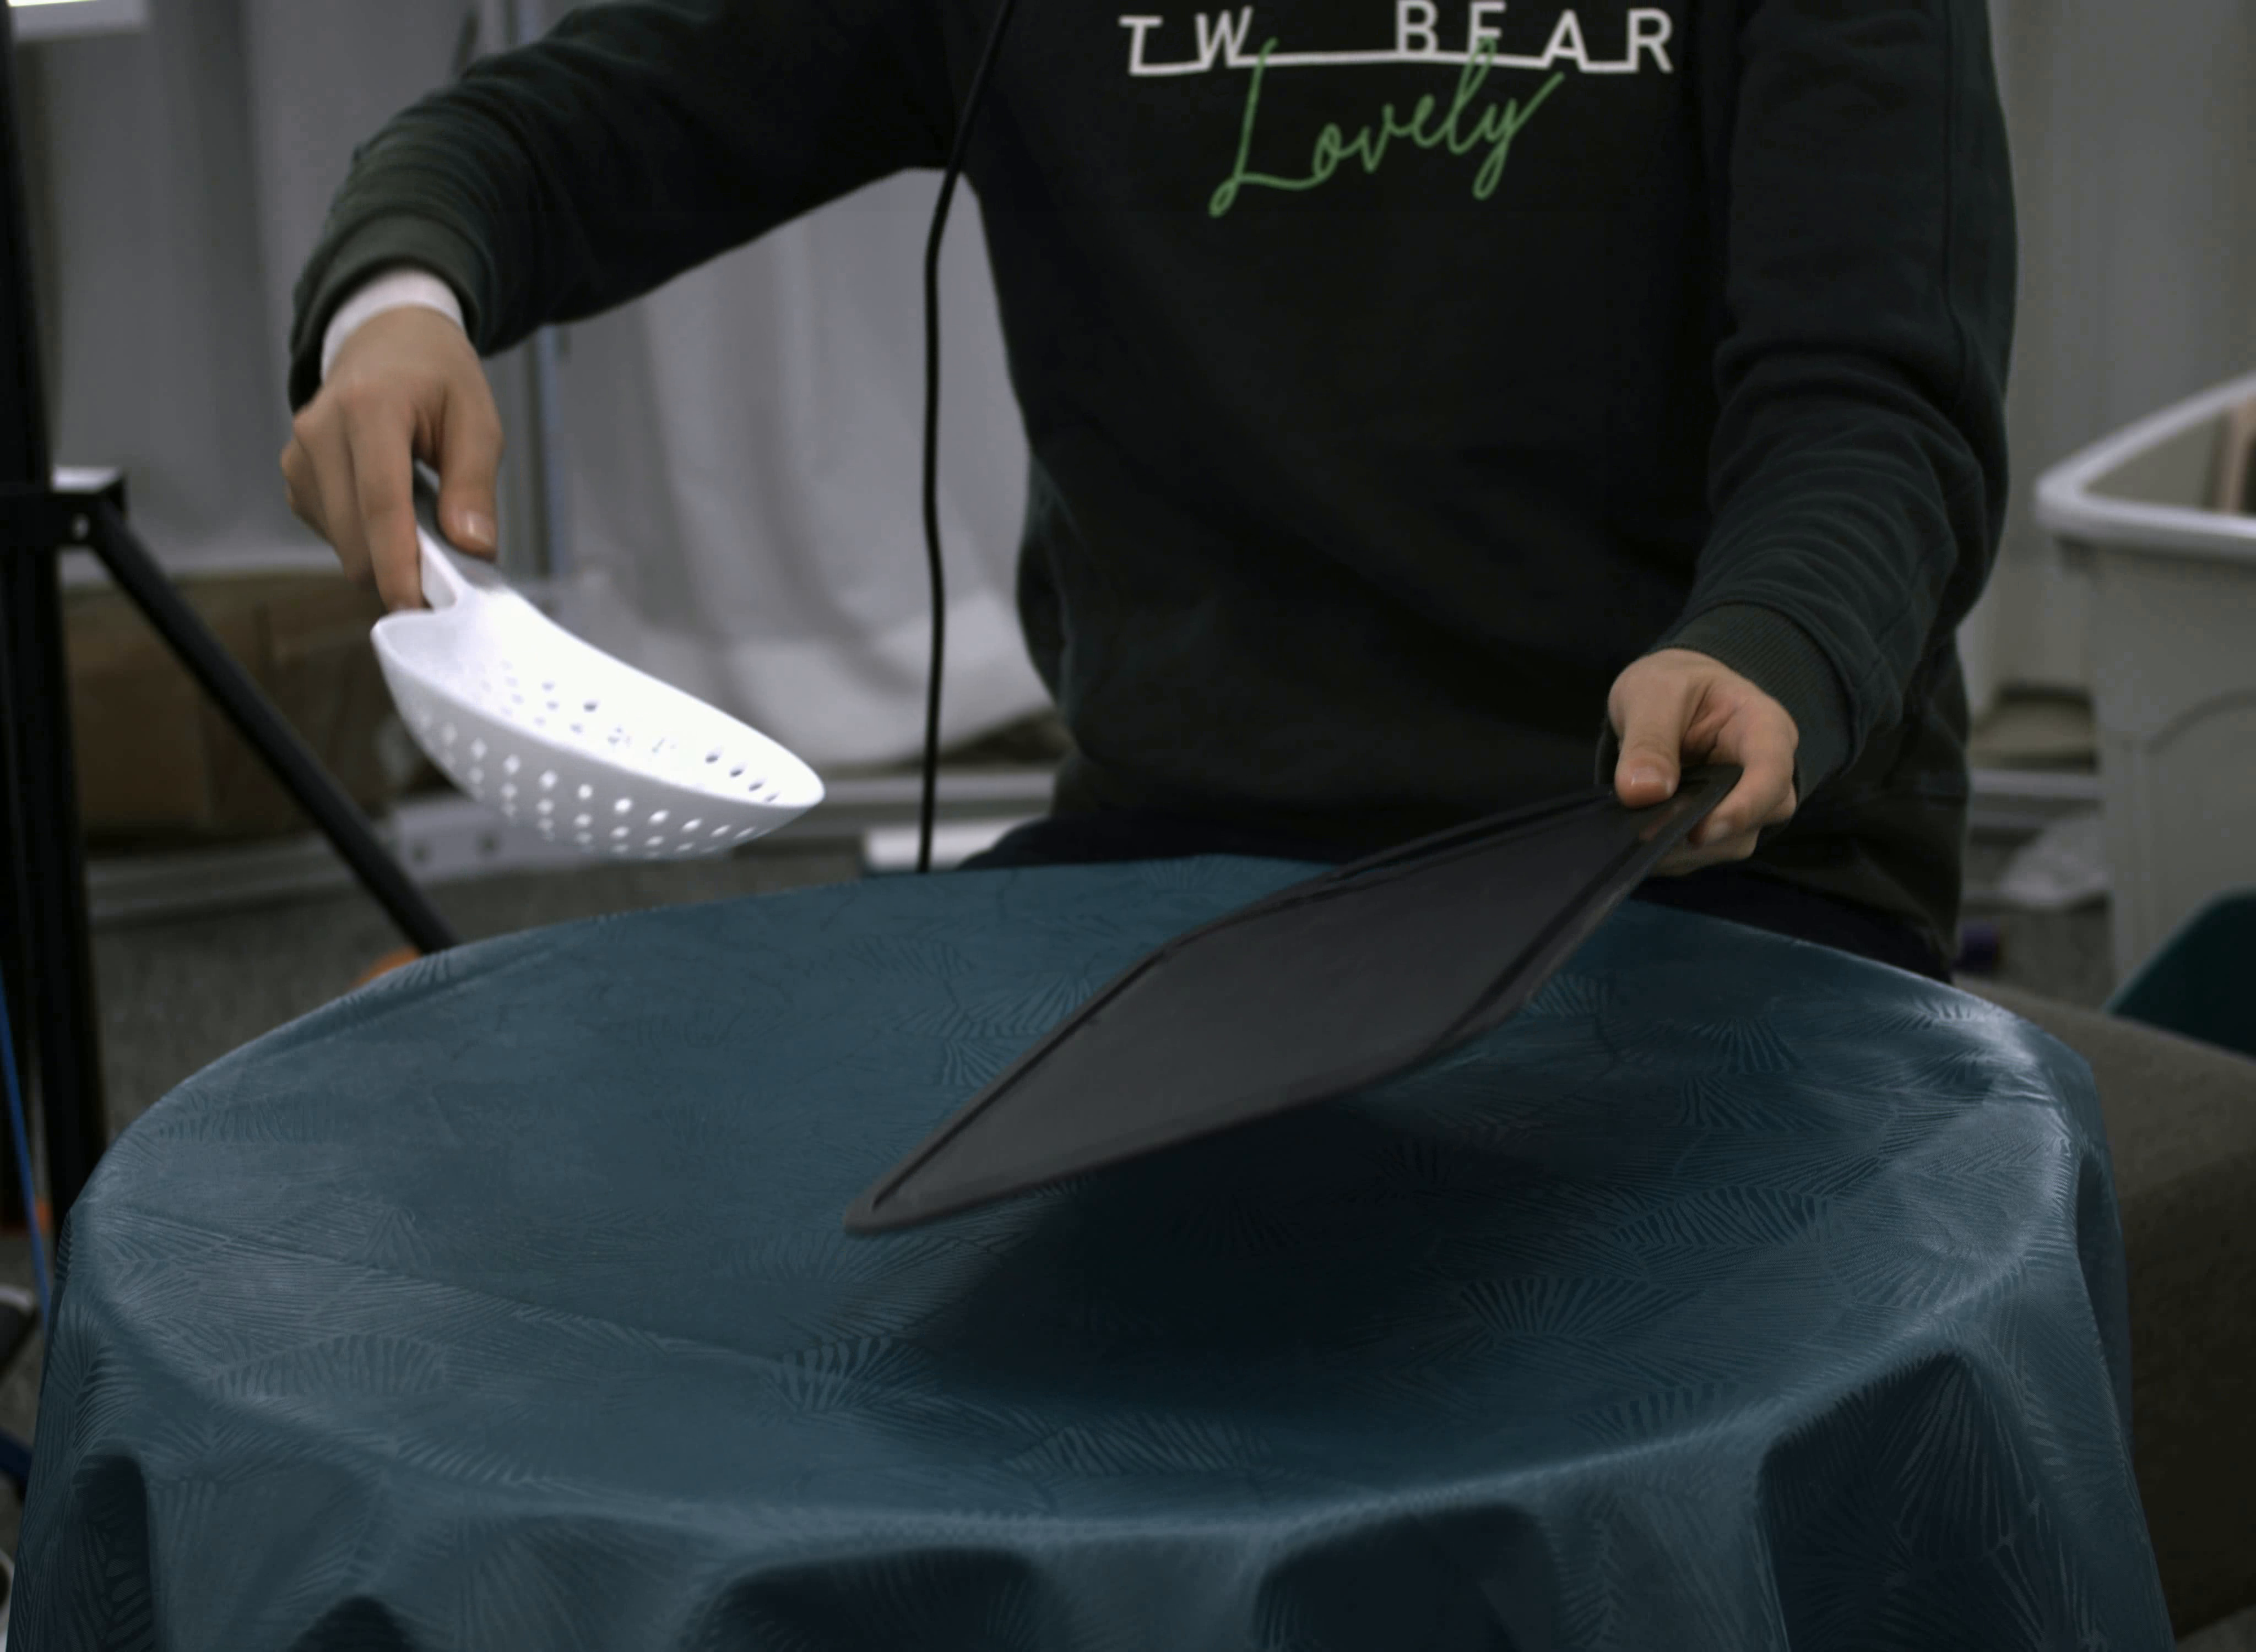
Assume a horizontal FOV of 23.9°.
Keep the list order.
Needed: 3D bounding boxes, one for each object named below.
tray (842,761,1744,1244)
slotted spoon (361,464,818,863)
[{"bbox_3d":[0.055,0.044,1.512,0.214,0.010,0.321,-18,9,26],"label":"tray"},{"bbox_3d":[-0.189,-0.058,1.616,0.133,0.046,0.356,16,16,-23],"label":"slotted spoon"}]
